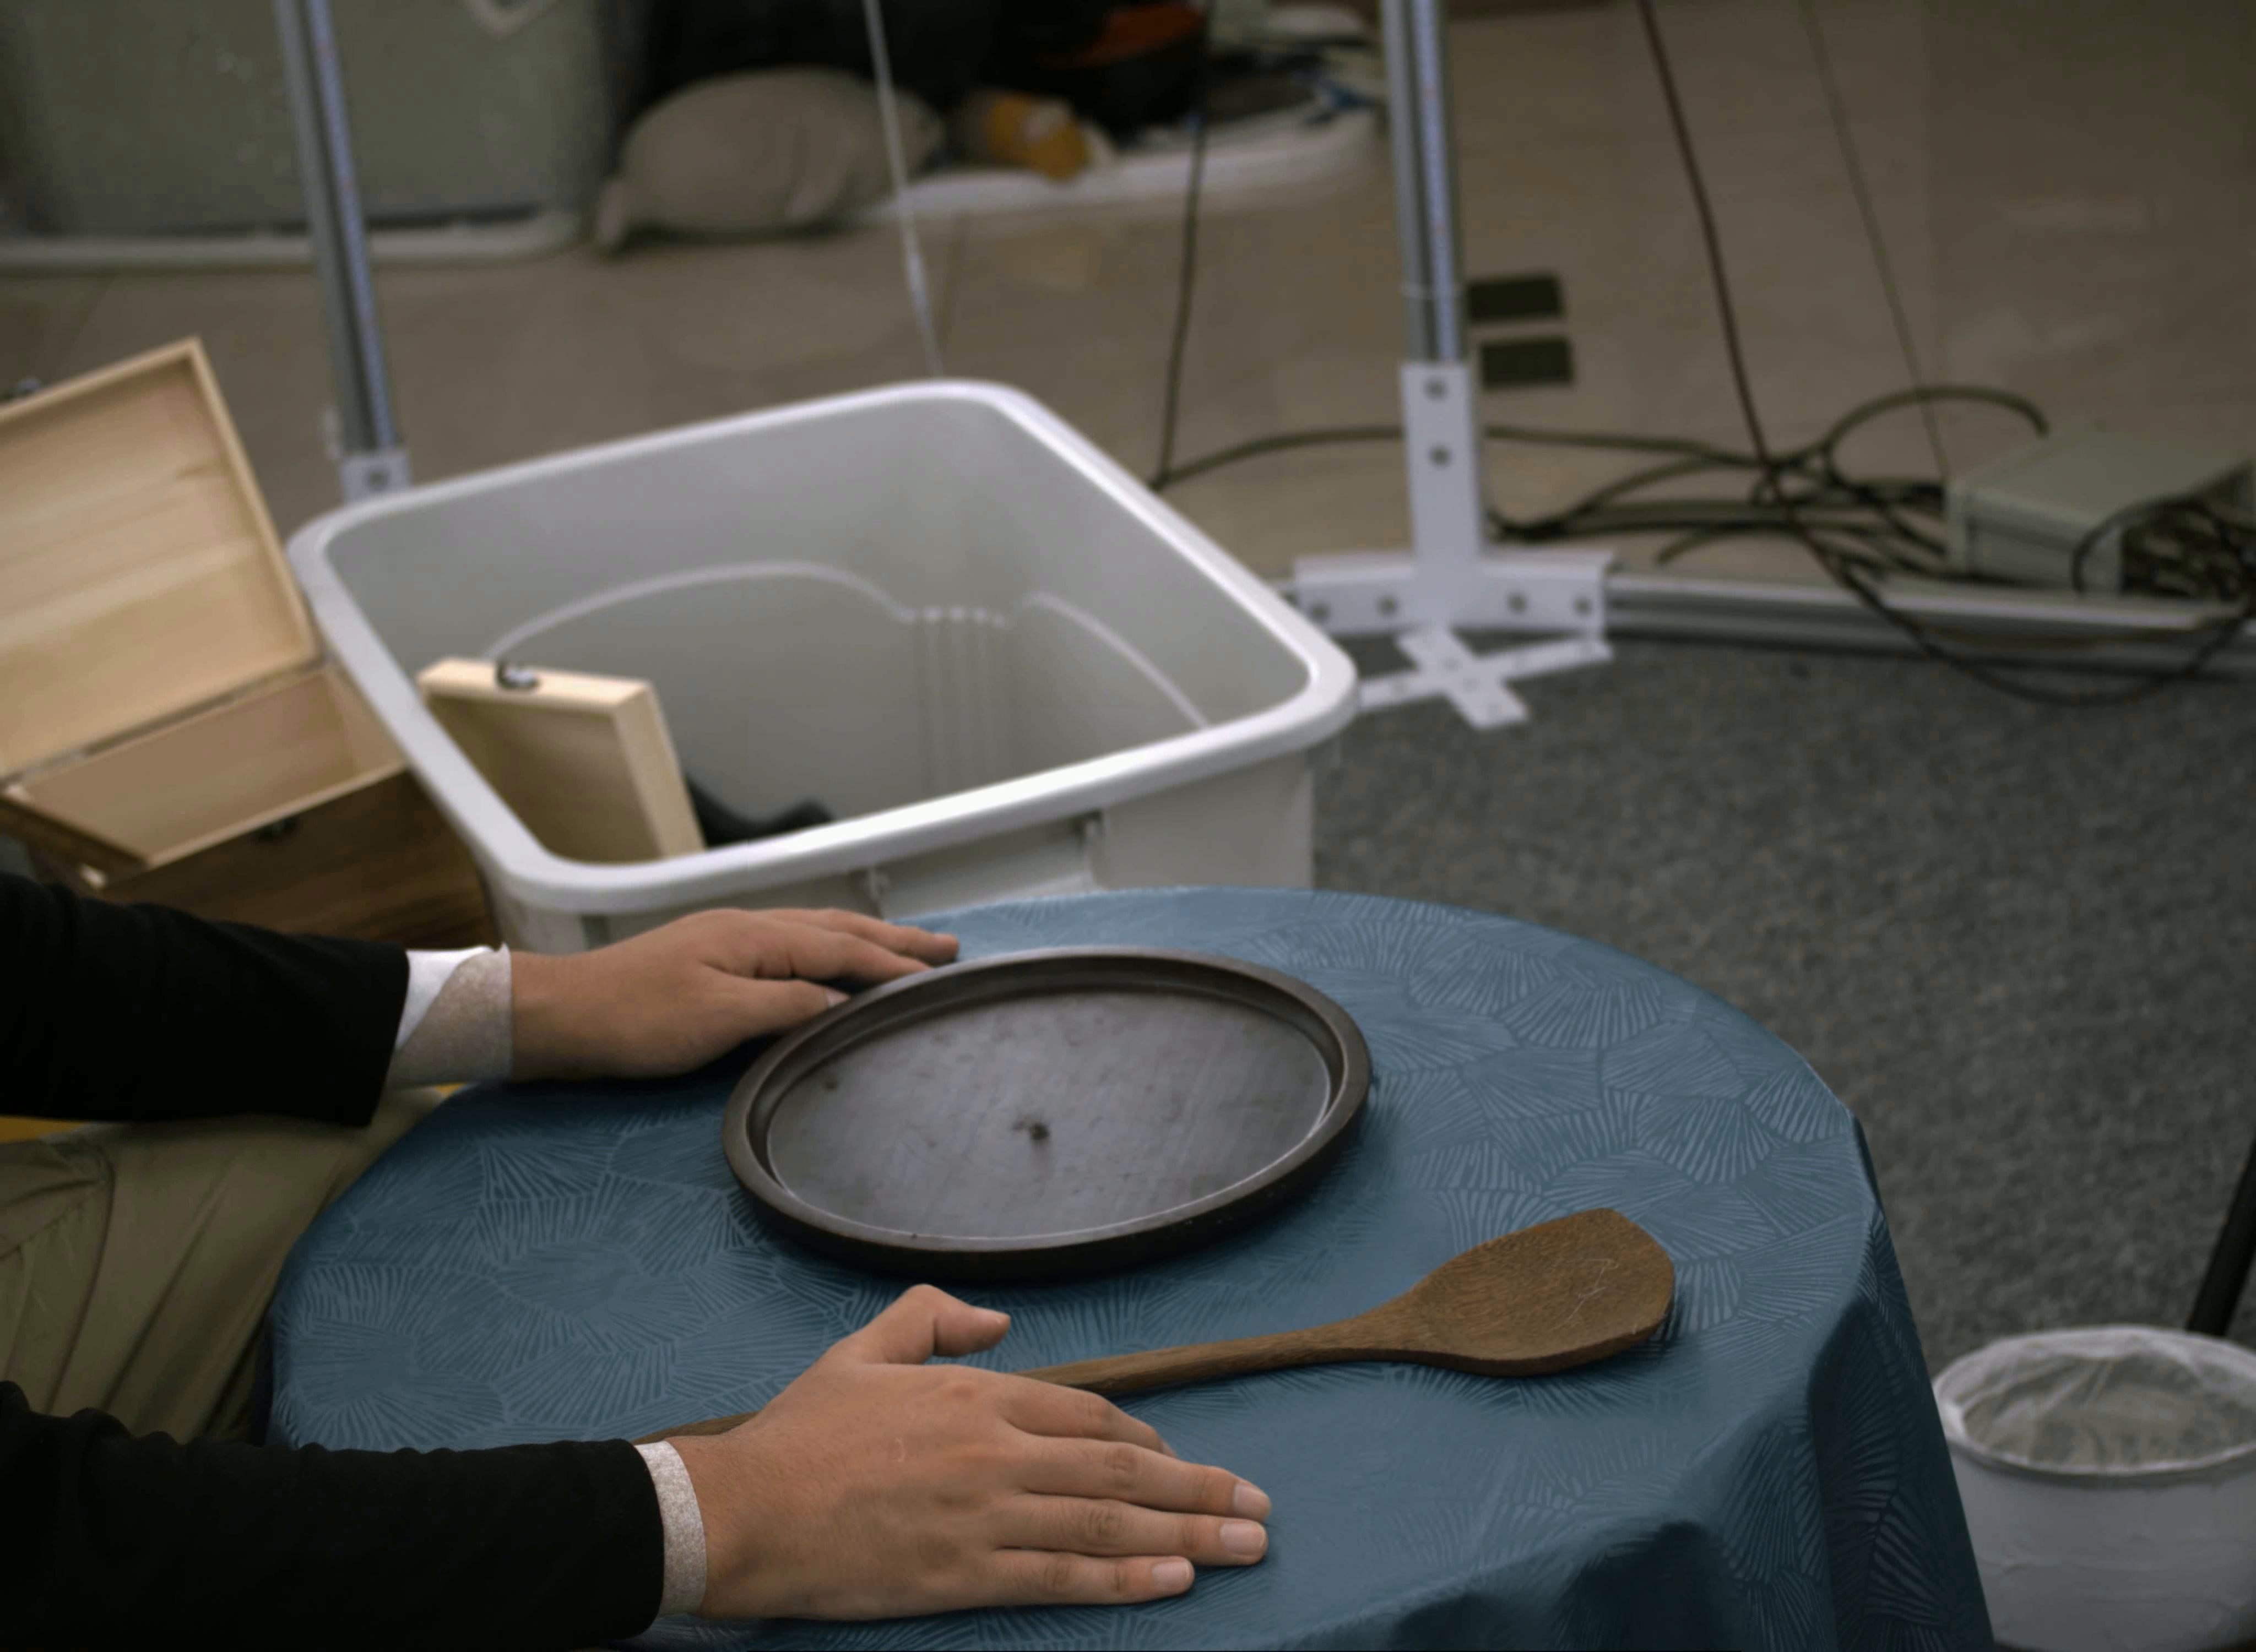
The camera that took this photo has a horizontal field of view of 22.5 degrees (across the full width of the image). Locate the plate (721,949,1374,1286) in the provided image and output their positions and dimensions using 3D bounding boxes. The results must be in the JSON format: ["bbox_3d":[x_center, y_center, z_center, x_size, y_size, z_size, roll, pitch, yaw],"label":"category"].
[{"bbox_3d":[-0.031,0.110,2.188,0.254,0.029,0.251,-5,26,3],"label":"plate"}]

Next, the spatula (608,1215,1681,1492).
[{"bbox_3d":[0.006,0.193,2.013,0.385,0.016,0.095,-10,25,-6],"label":"spatula"}]
